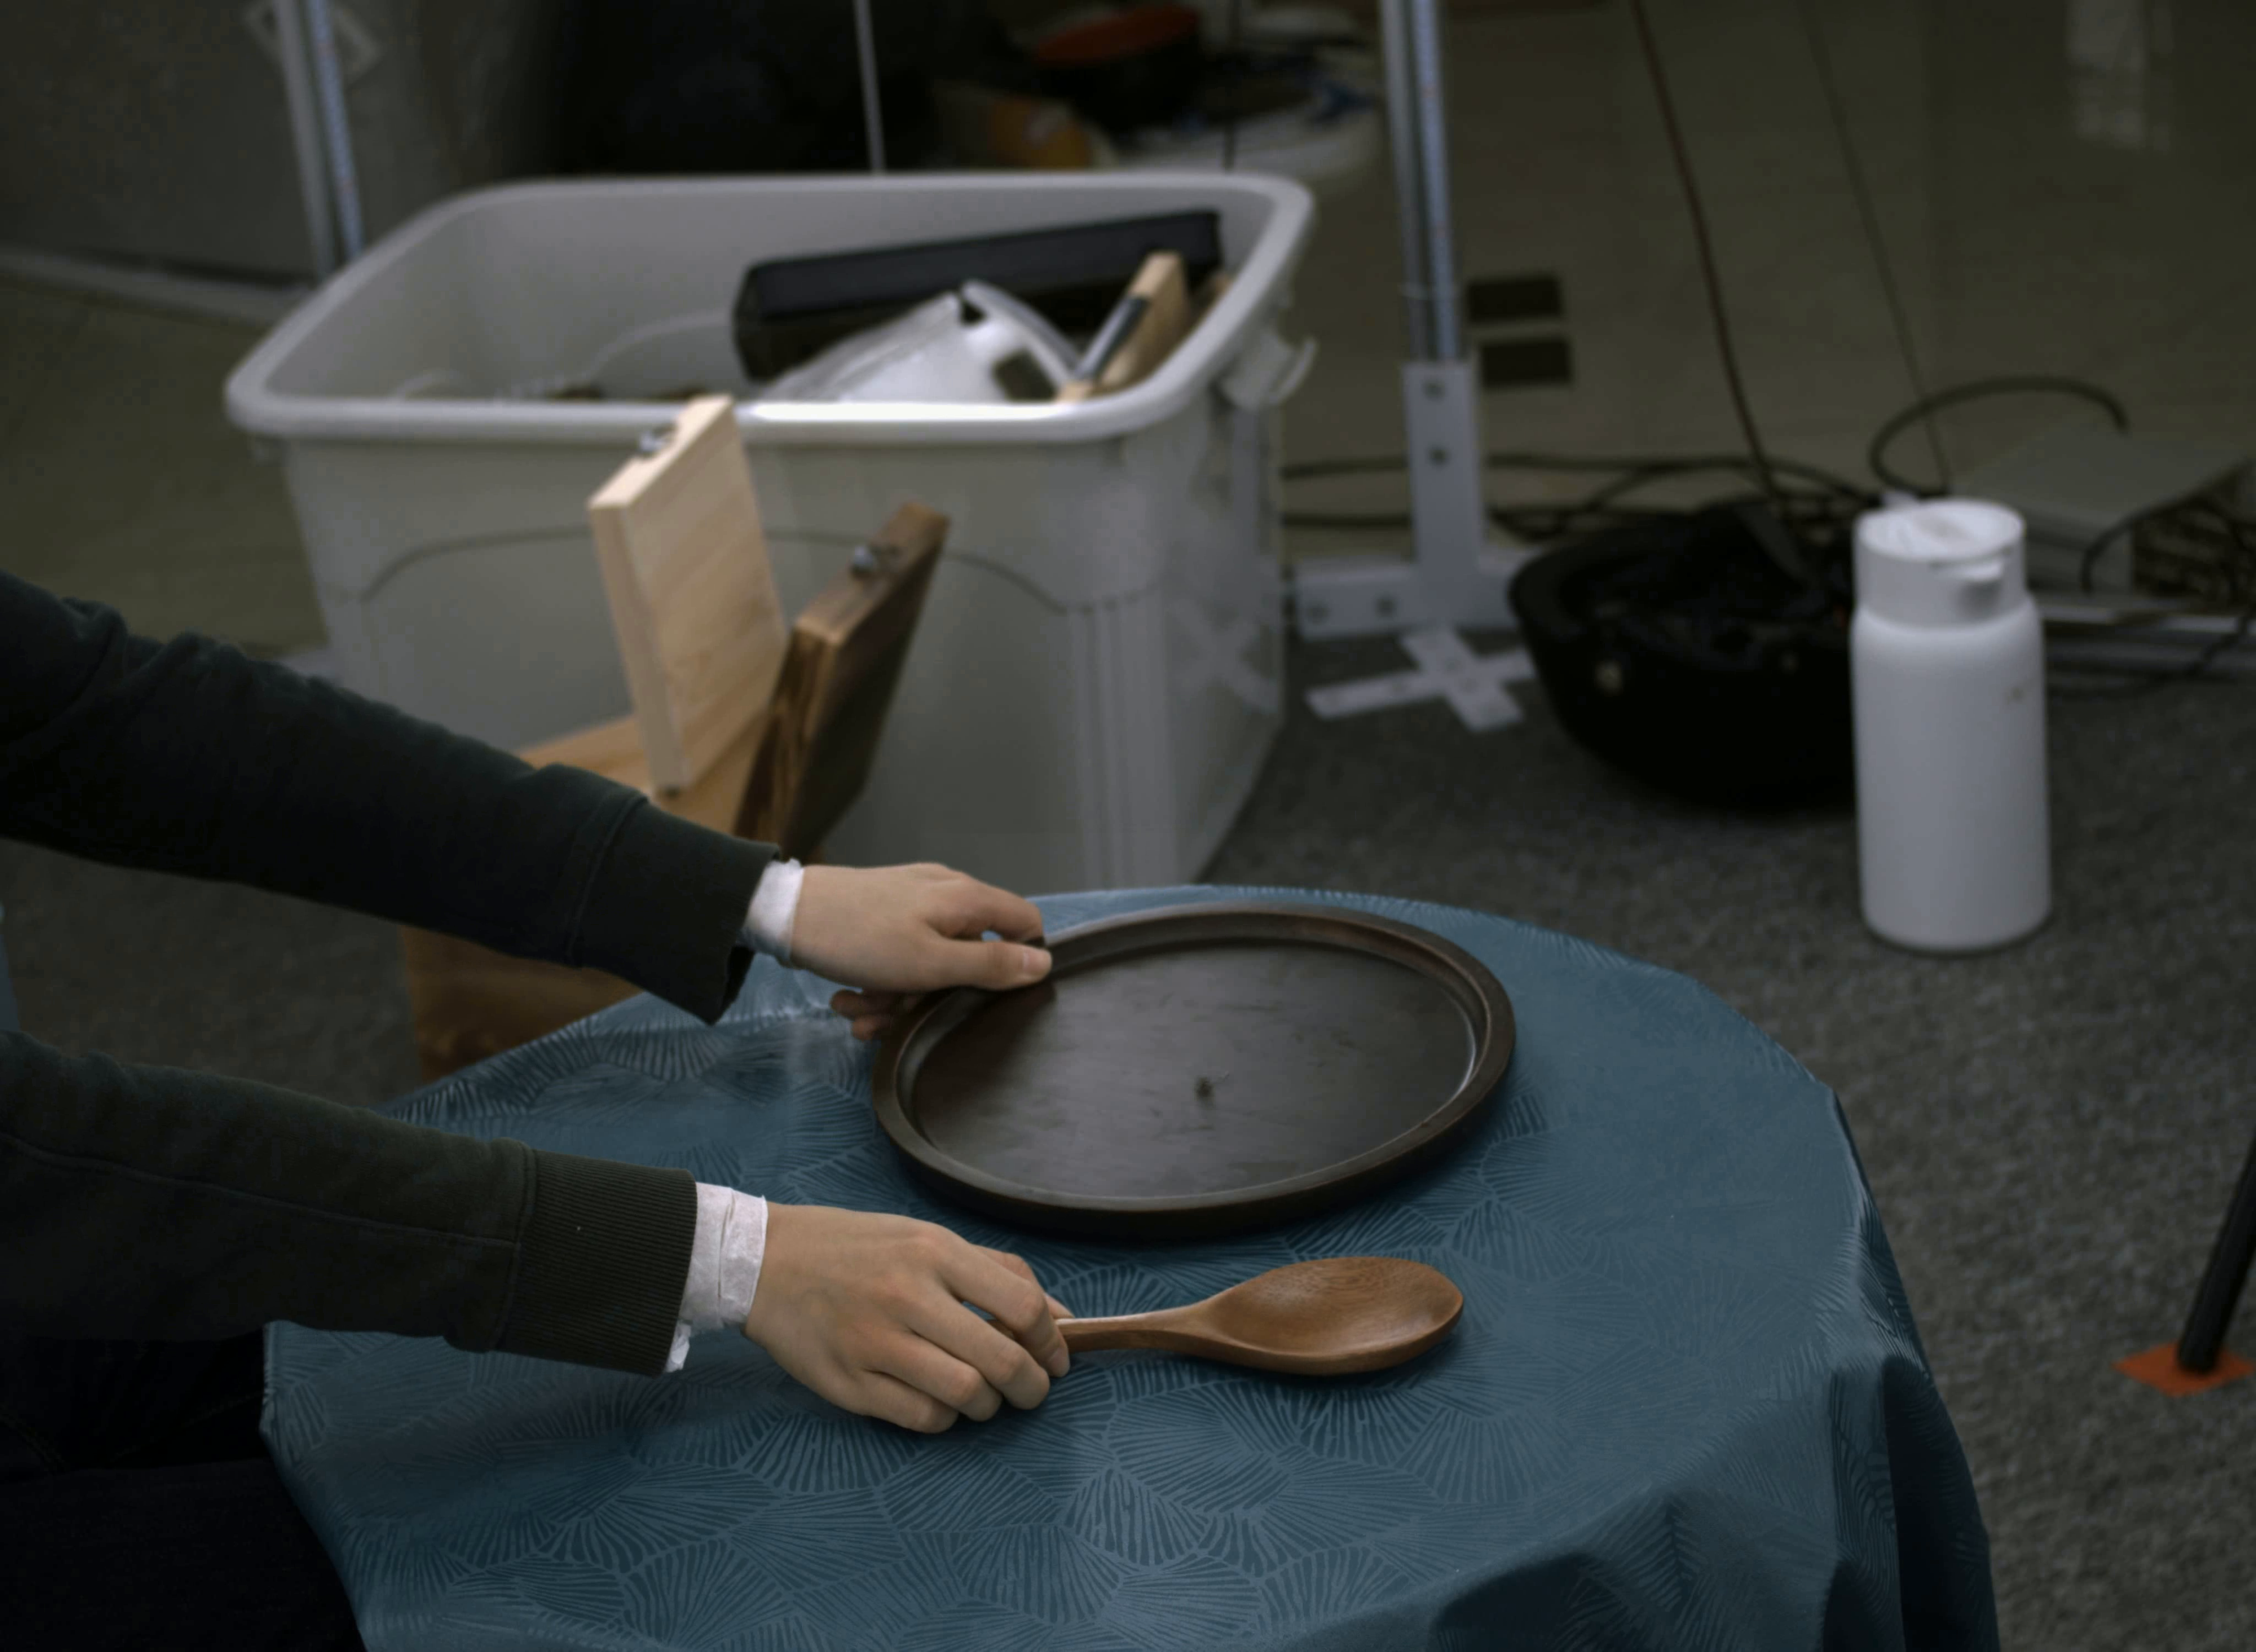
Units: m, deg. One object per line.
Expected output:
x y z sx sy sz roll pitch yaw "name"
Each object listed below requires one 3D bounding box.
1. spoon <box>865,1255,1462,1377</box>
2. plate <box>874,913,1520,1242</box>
0.012 0.182 2.038 0.215 0.017 0.074 -4 25 5 "spoon"
0.026 0.096 2.209 0.254 0.029 0.251 -5 25 2 "plate"
